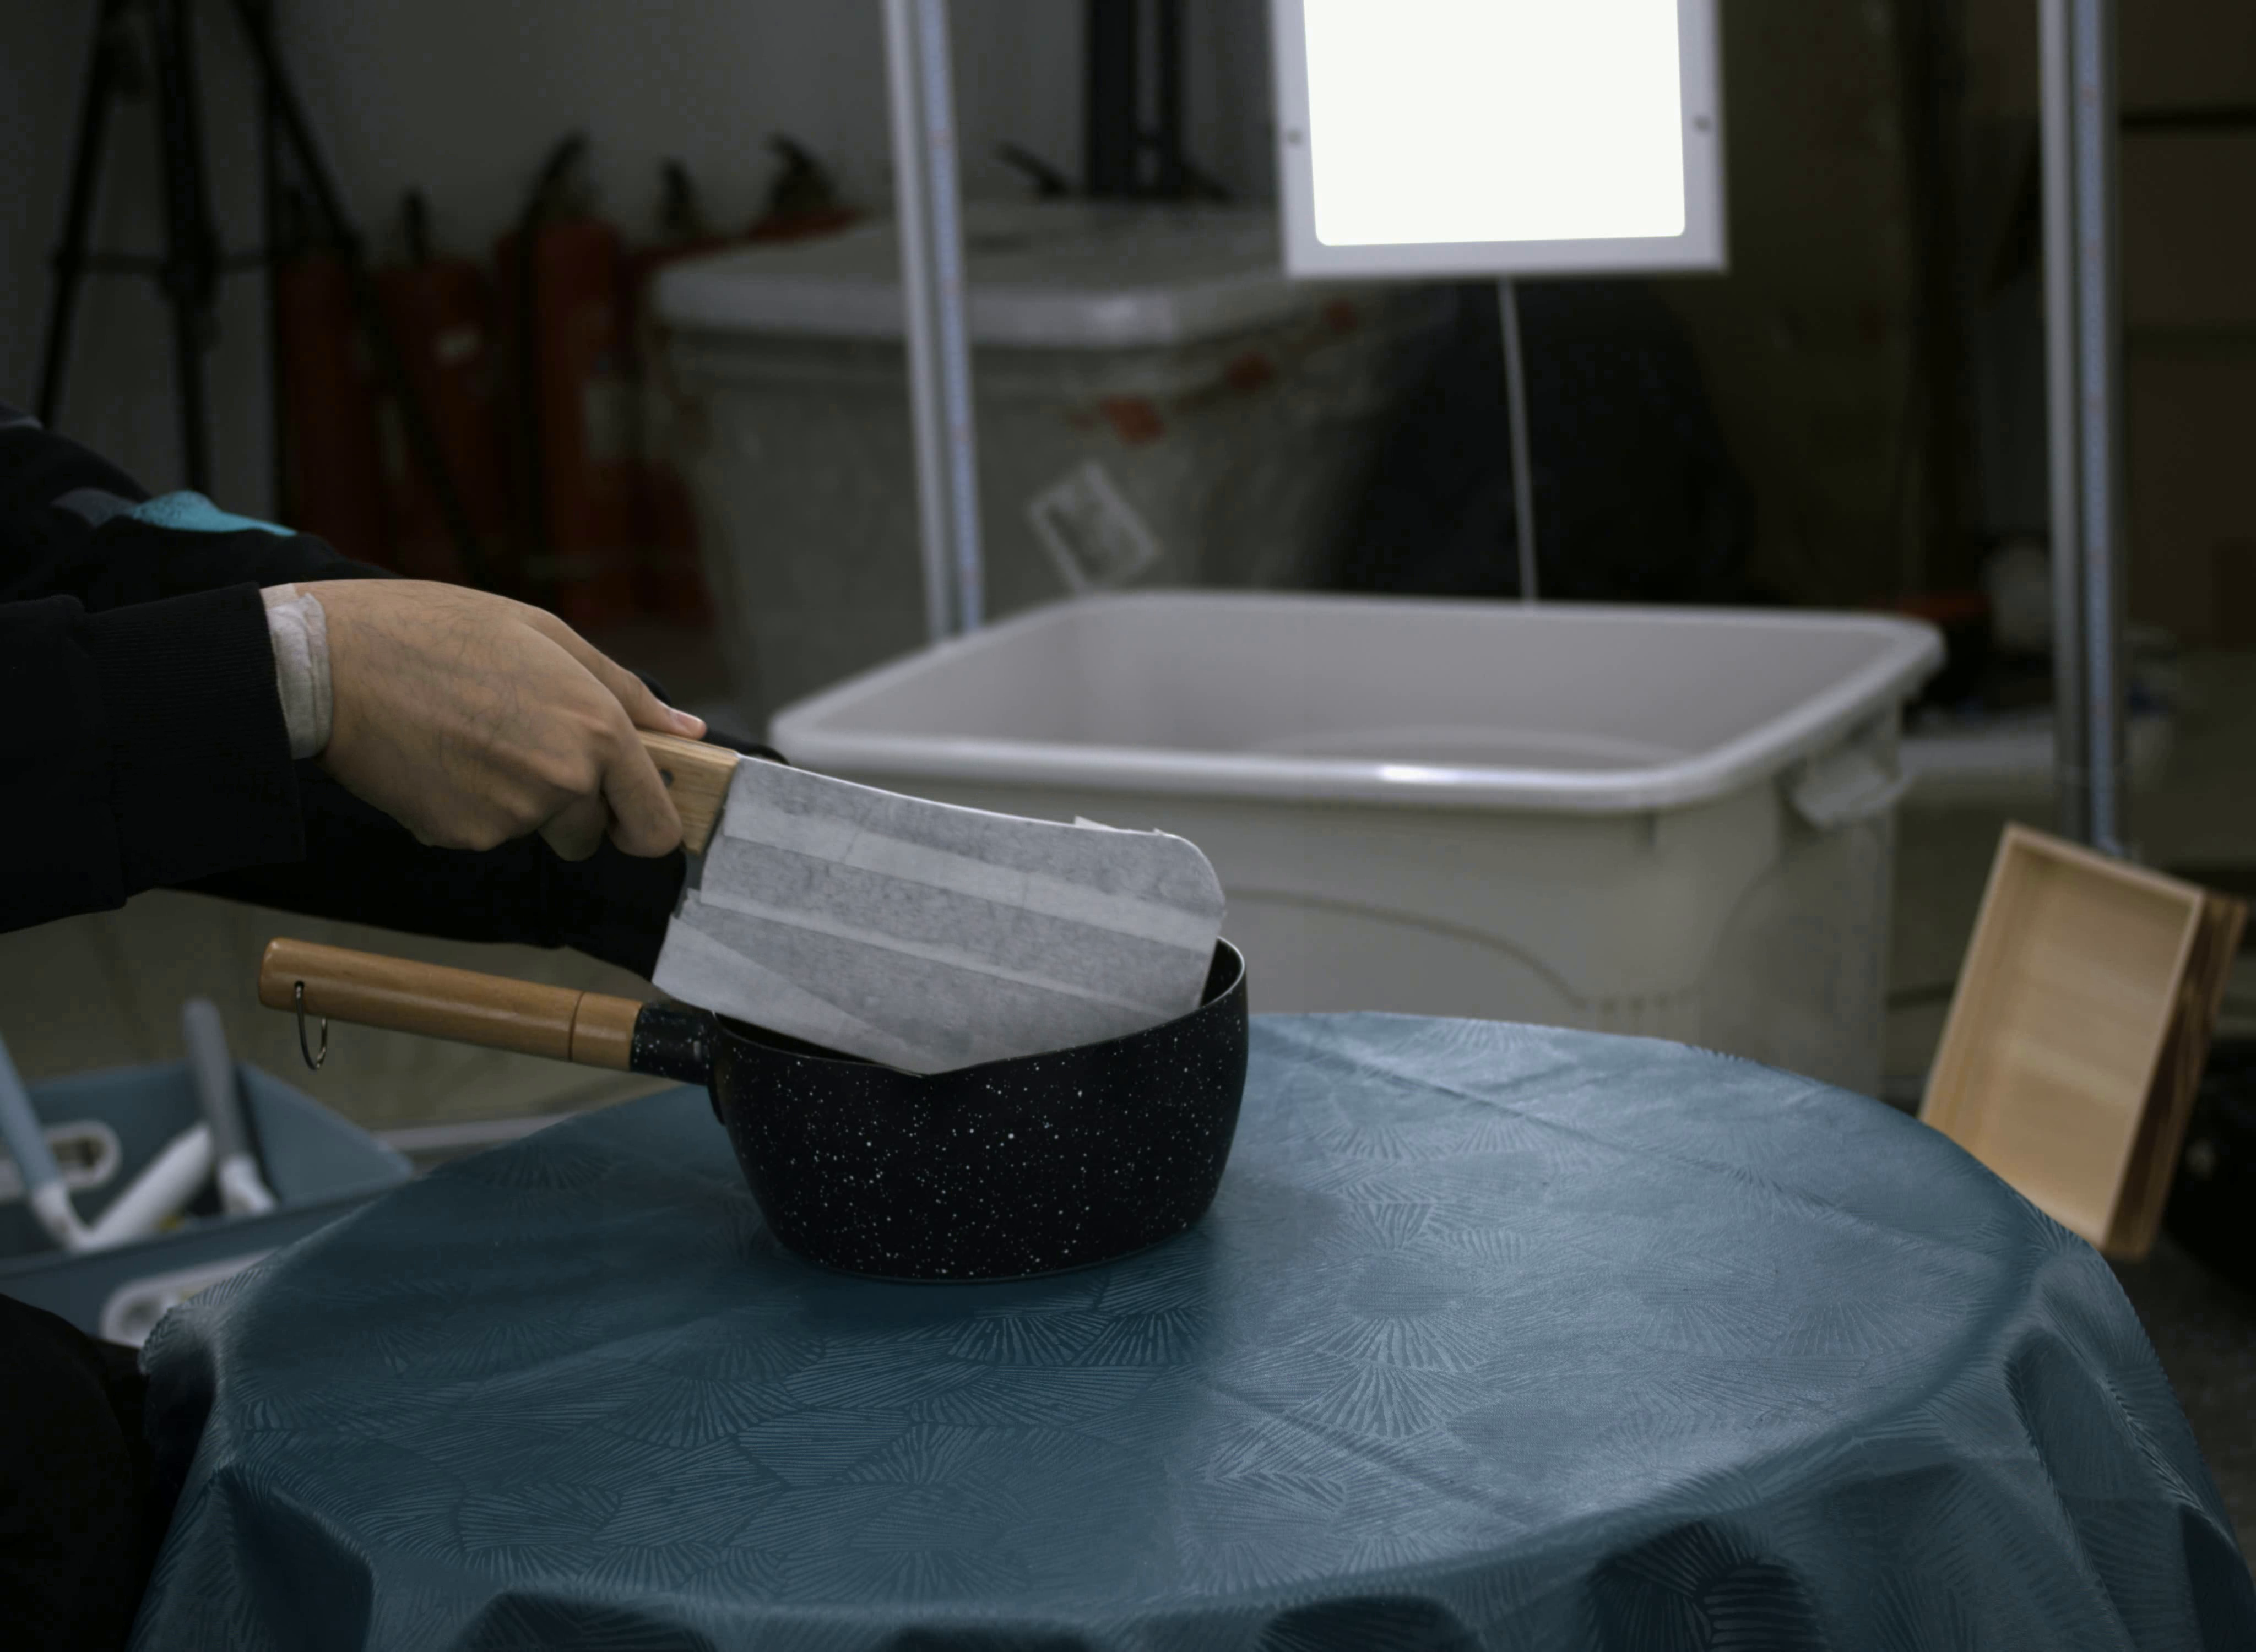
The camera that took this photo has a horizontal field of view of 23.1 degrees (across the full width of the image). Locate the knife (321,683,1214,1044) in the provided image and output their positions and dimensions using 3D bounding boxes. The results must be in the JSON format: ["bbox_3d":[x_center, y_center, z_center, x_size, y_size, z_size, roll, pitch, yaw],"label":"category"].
[{"bbox_3d":[-0.117,0.012,1.832,0.312,0.114,0.022,18,10,-9],"label":"knife"}]

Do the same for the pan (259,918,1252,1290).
[{"bbox_3d":[-0.127,0.085,1.882,0.344,0.108,0.206,-2,15,7],"label":"pan"}]
